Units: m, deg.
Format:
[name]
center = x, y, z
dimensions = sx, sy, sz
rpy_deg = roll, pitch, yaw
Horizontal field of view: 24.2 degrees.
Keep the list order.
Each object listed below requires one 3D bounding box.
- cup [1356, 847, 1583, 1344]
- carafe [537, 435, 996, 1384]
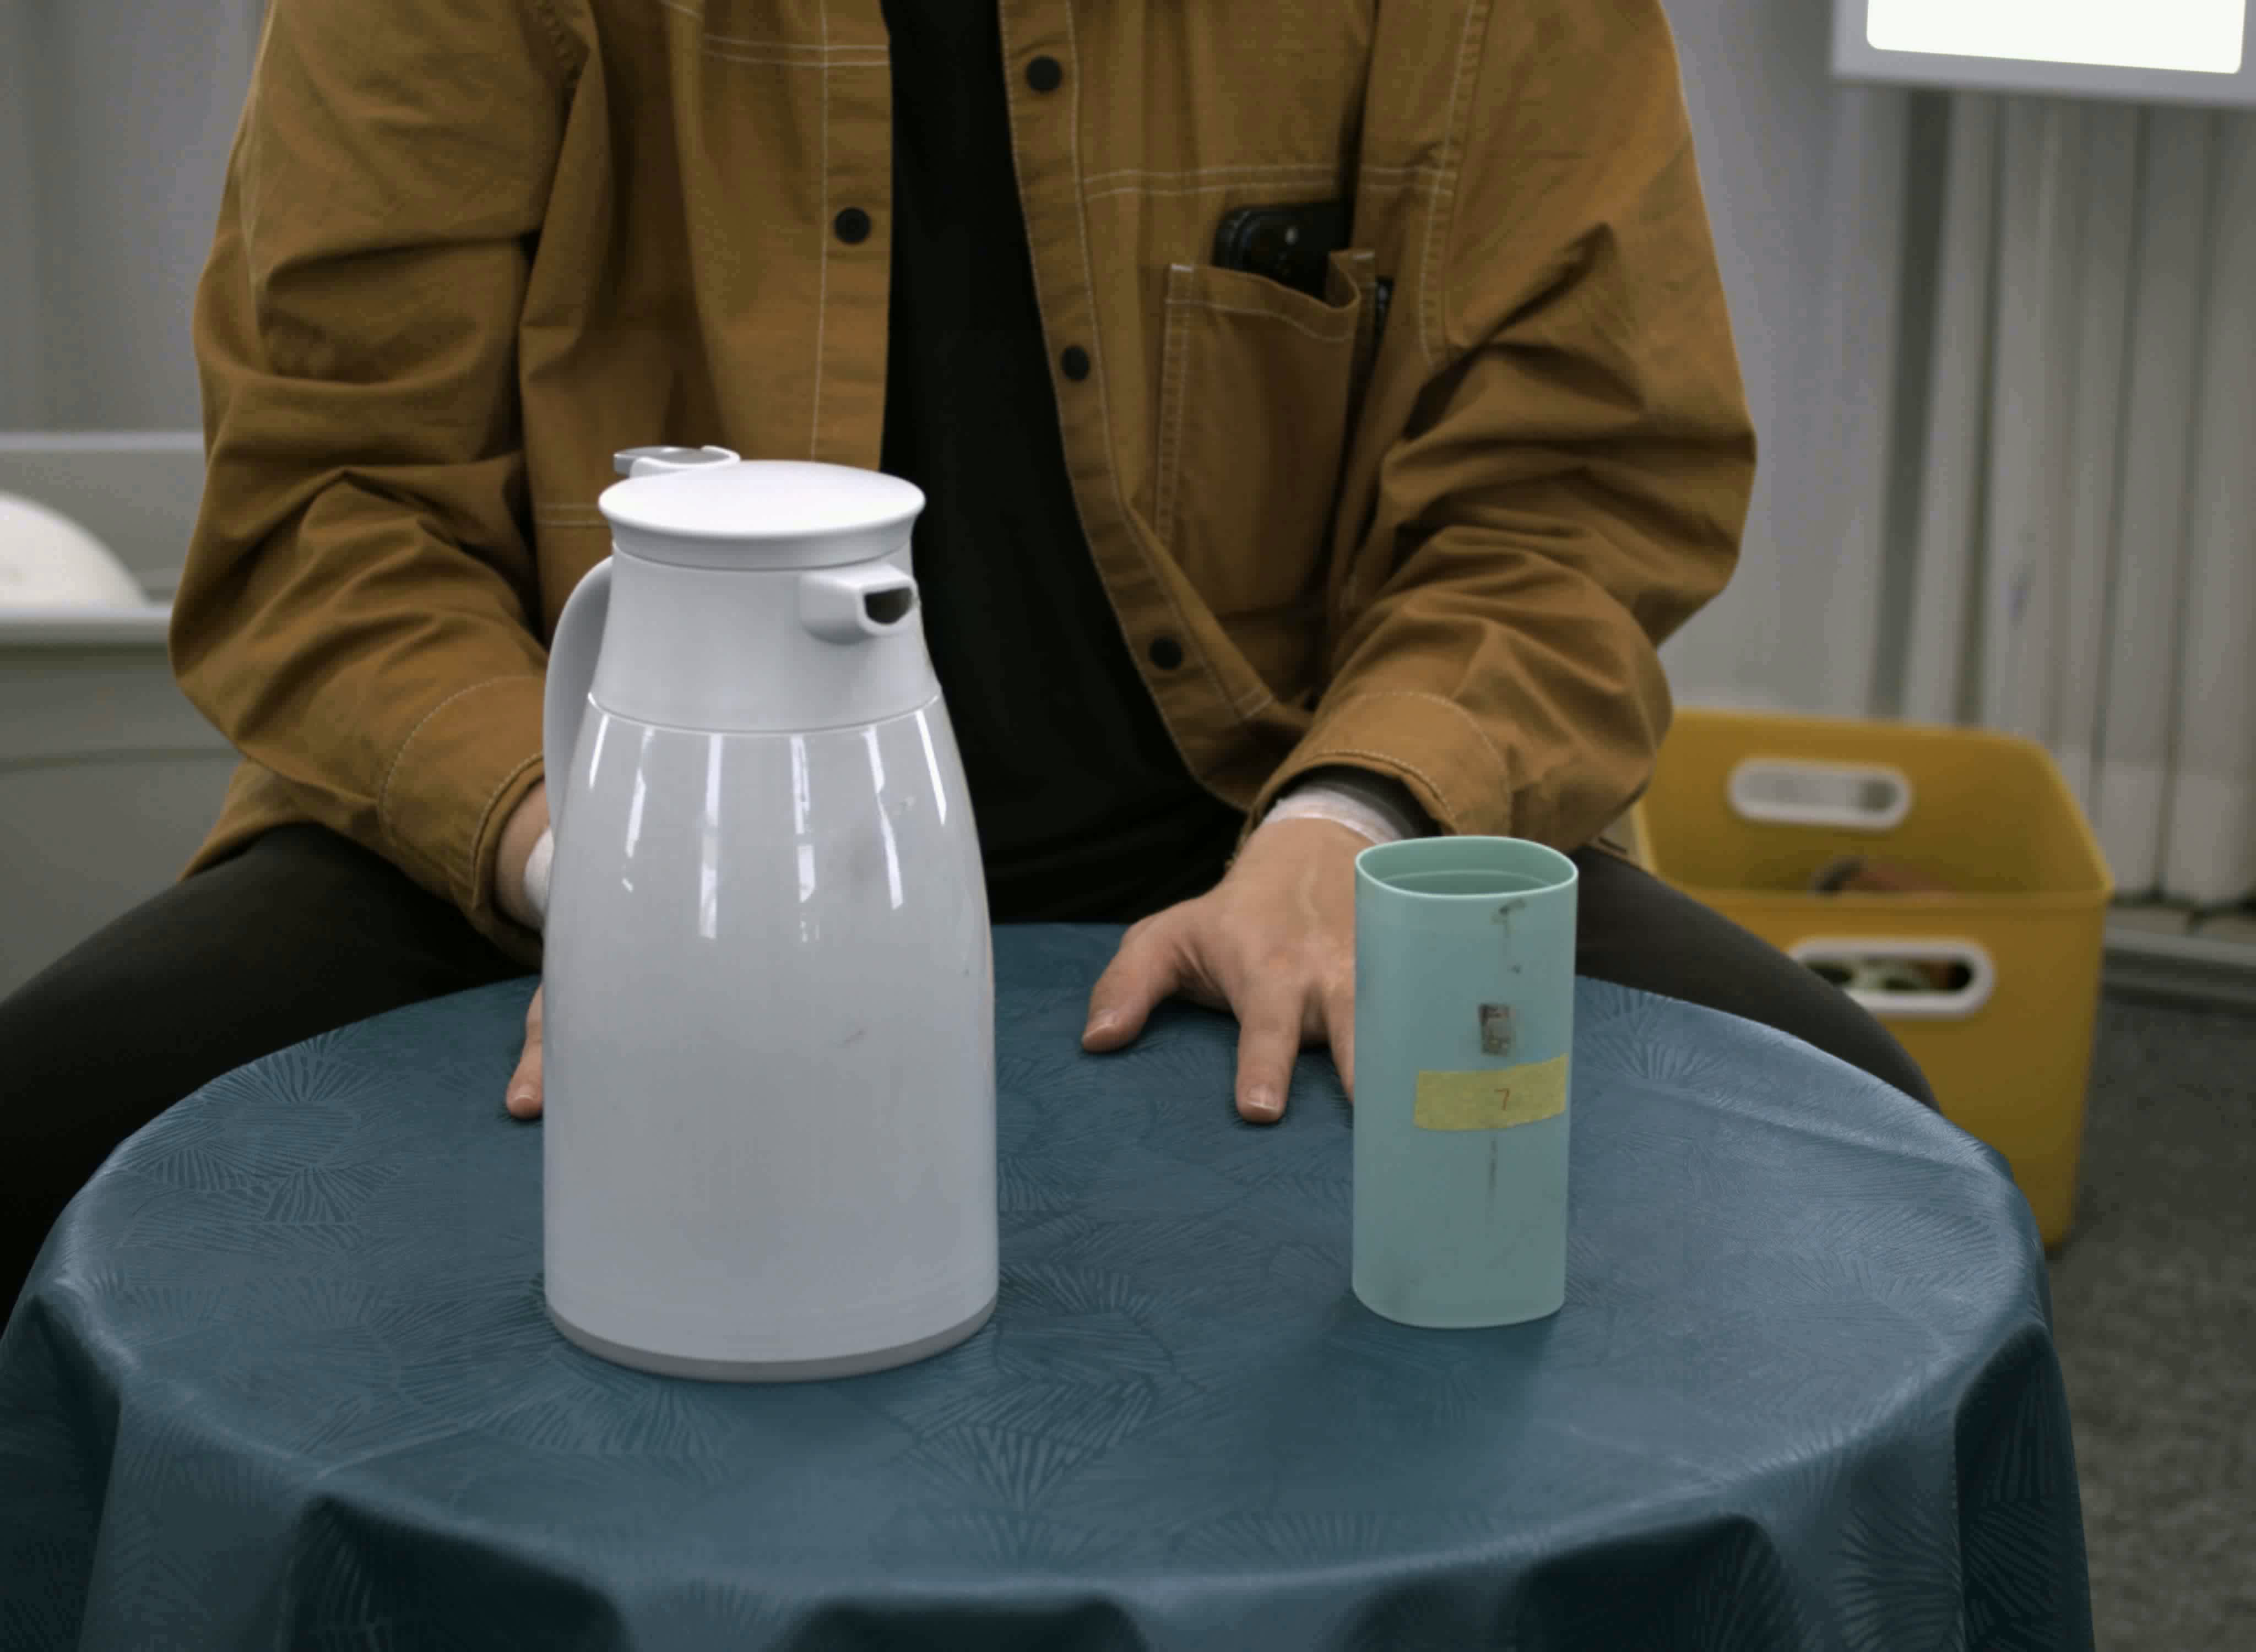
[cup]
center = 0.097, 0.076, 1.522
dimensions = 0.066, 0.133, 0.066
rpy_deg = 1, 17, 0
[carafe]
center = -0.116, 0.015, 1.504
dimensions = 0.133, 0.250, 0.165
rpy_deg = -13, 20, -37
